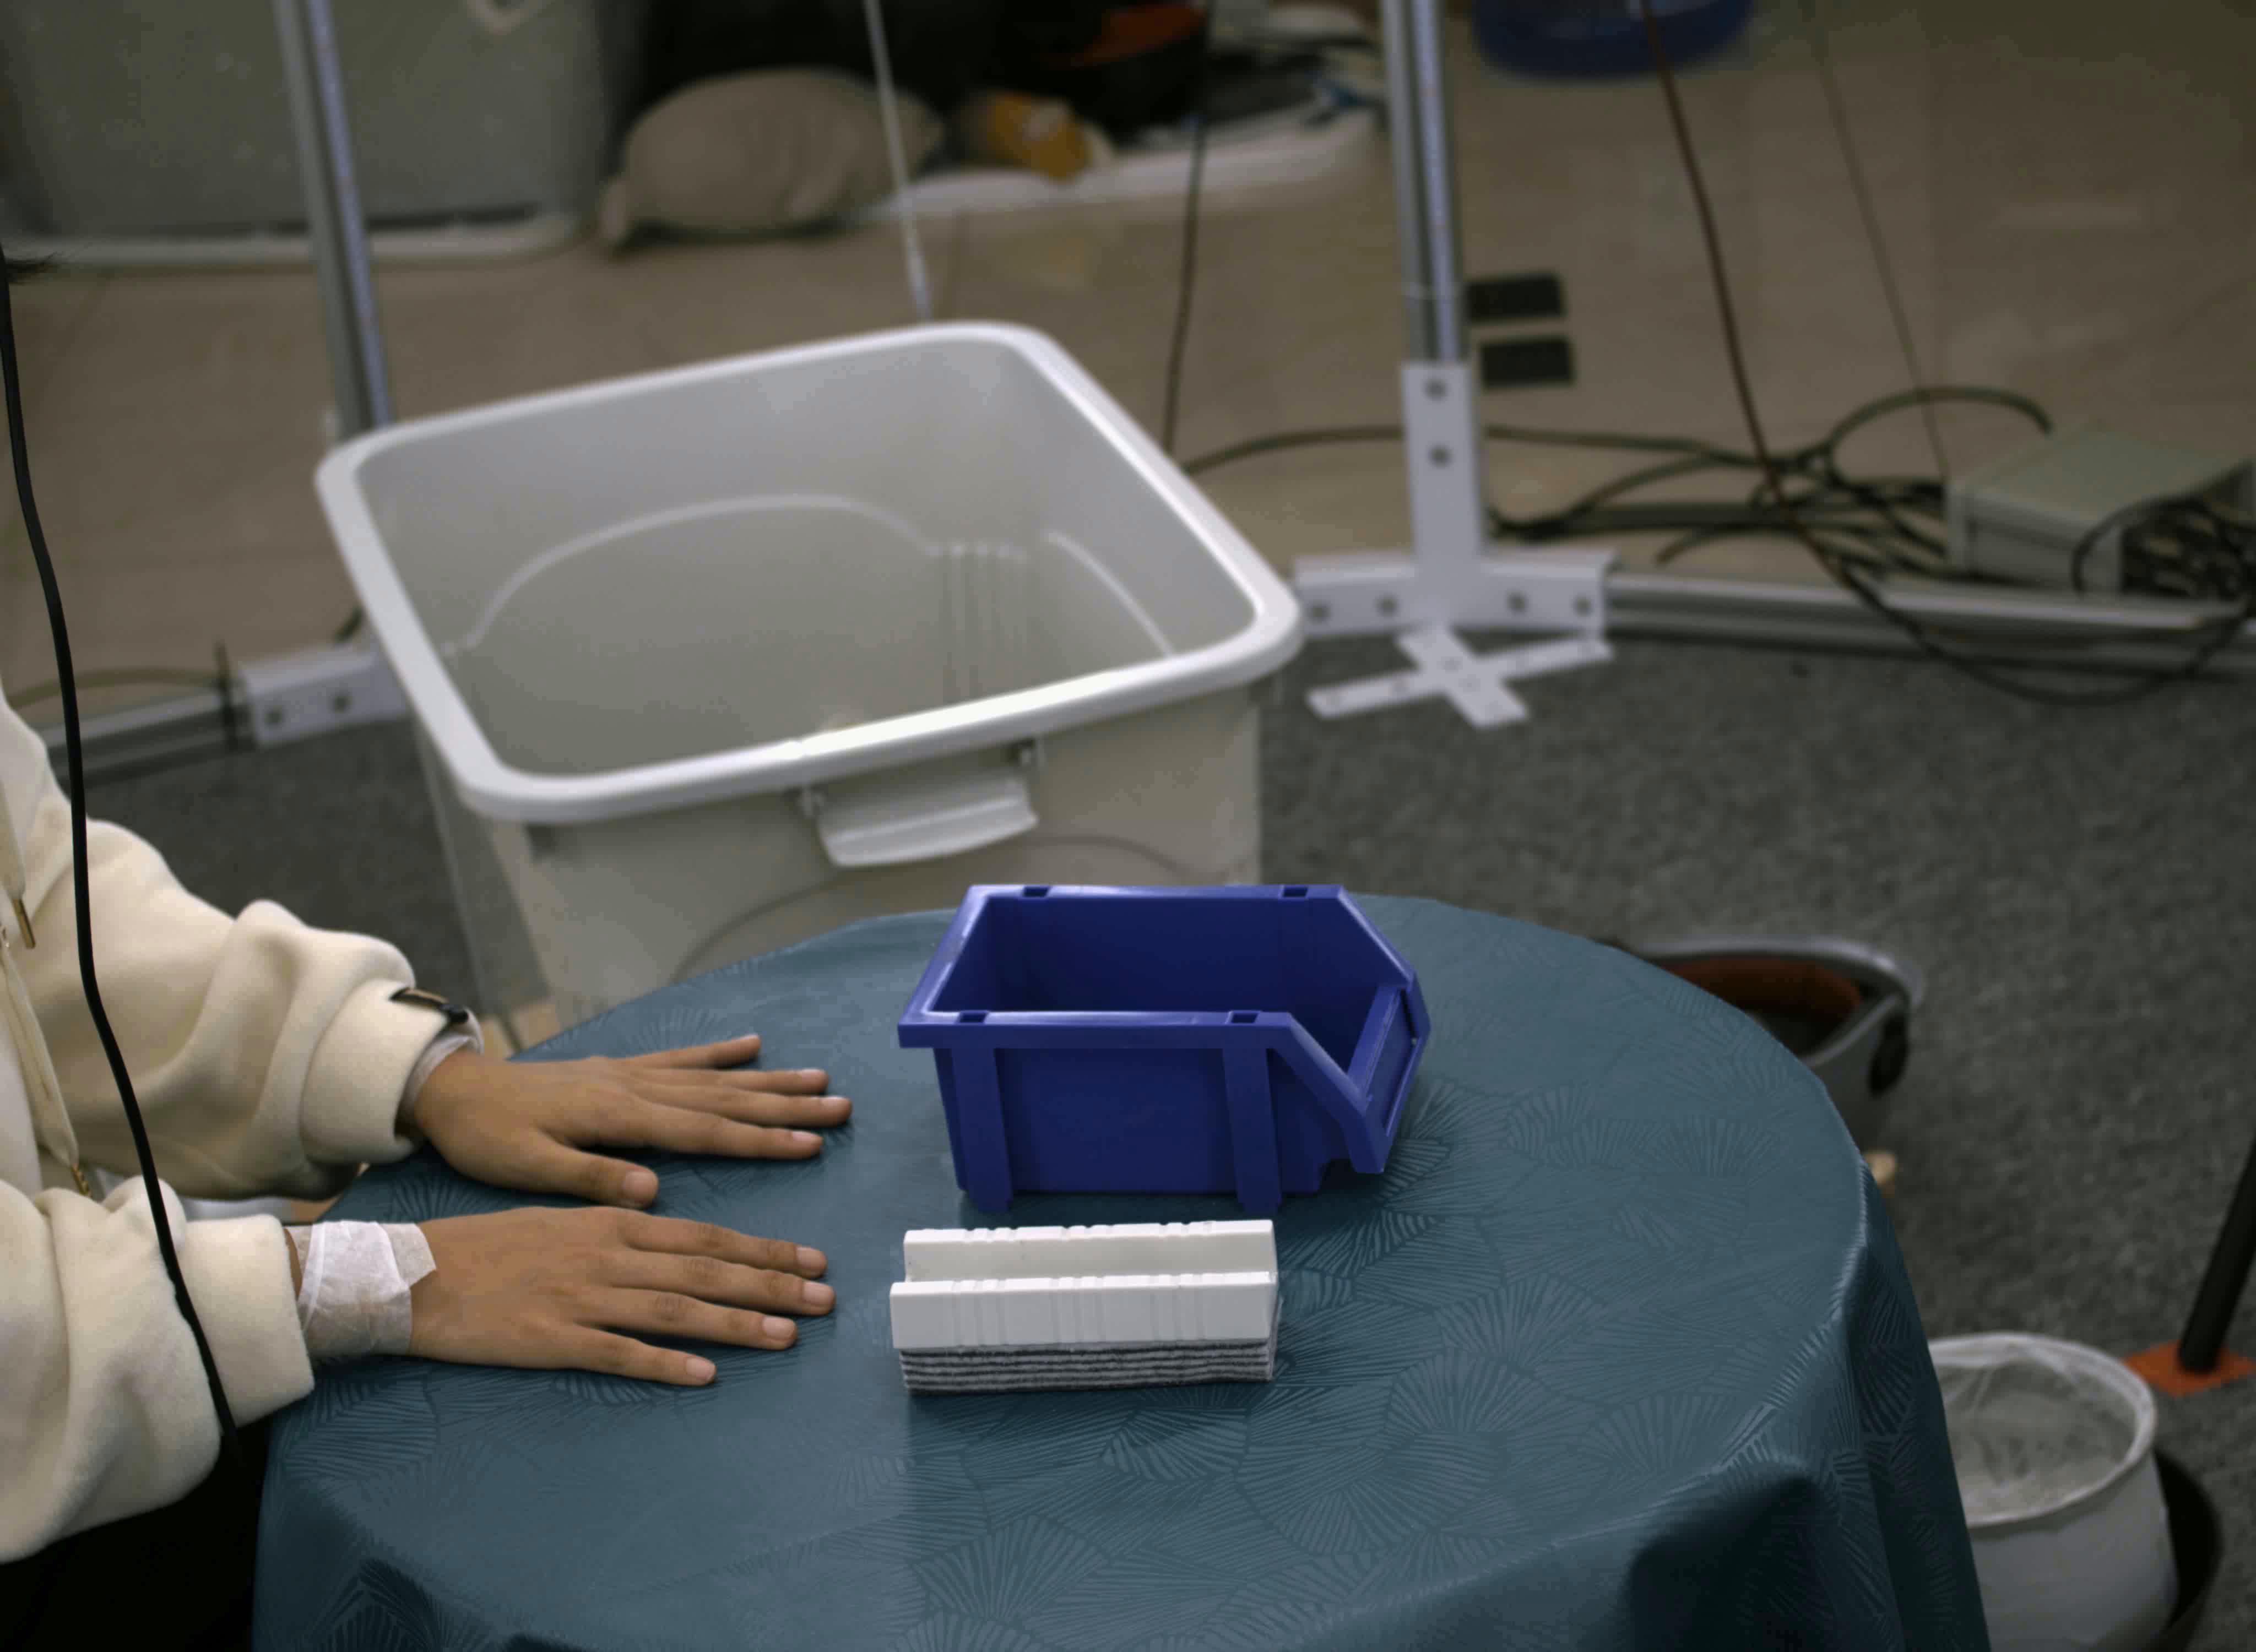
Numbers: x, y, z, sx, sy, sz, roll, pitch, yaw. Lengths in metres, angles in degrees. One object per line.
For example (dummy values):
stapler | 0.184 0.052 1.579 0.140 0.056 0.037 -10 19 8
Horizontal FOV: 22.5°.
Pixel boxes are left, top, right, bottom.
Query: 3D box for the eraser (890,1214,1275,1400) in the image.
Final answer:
eraser | -0.015 0.172 2.025 0.134 0.047 0.049 -3 27 5

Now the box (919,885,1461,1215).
box | 0.027 0.083 2.164 0.179 0.083 0.123 -1 26 16
